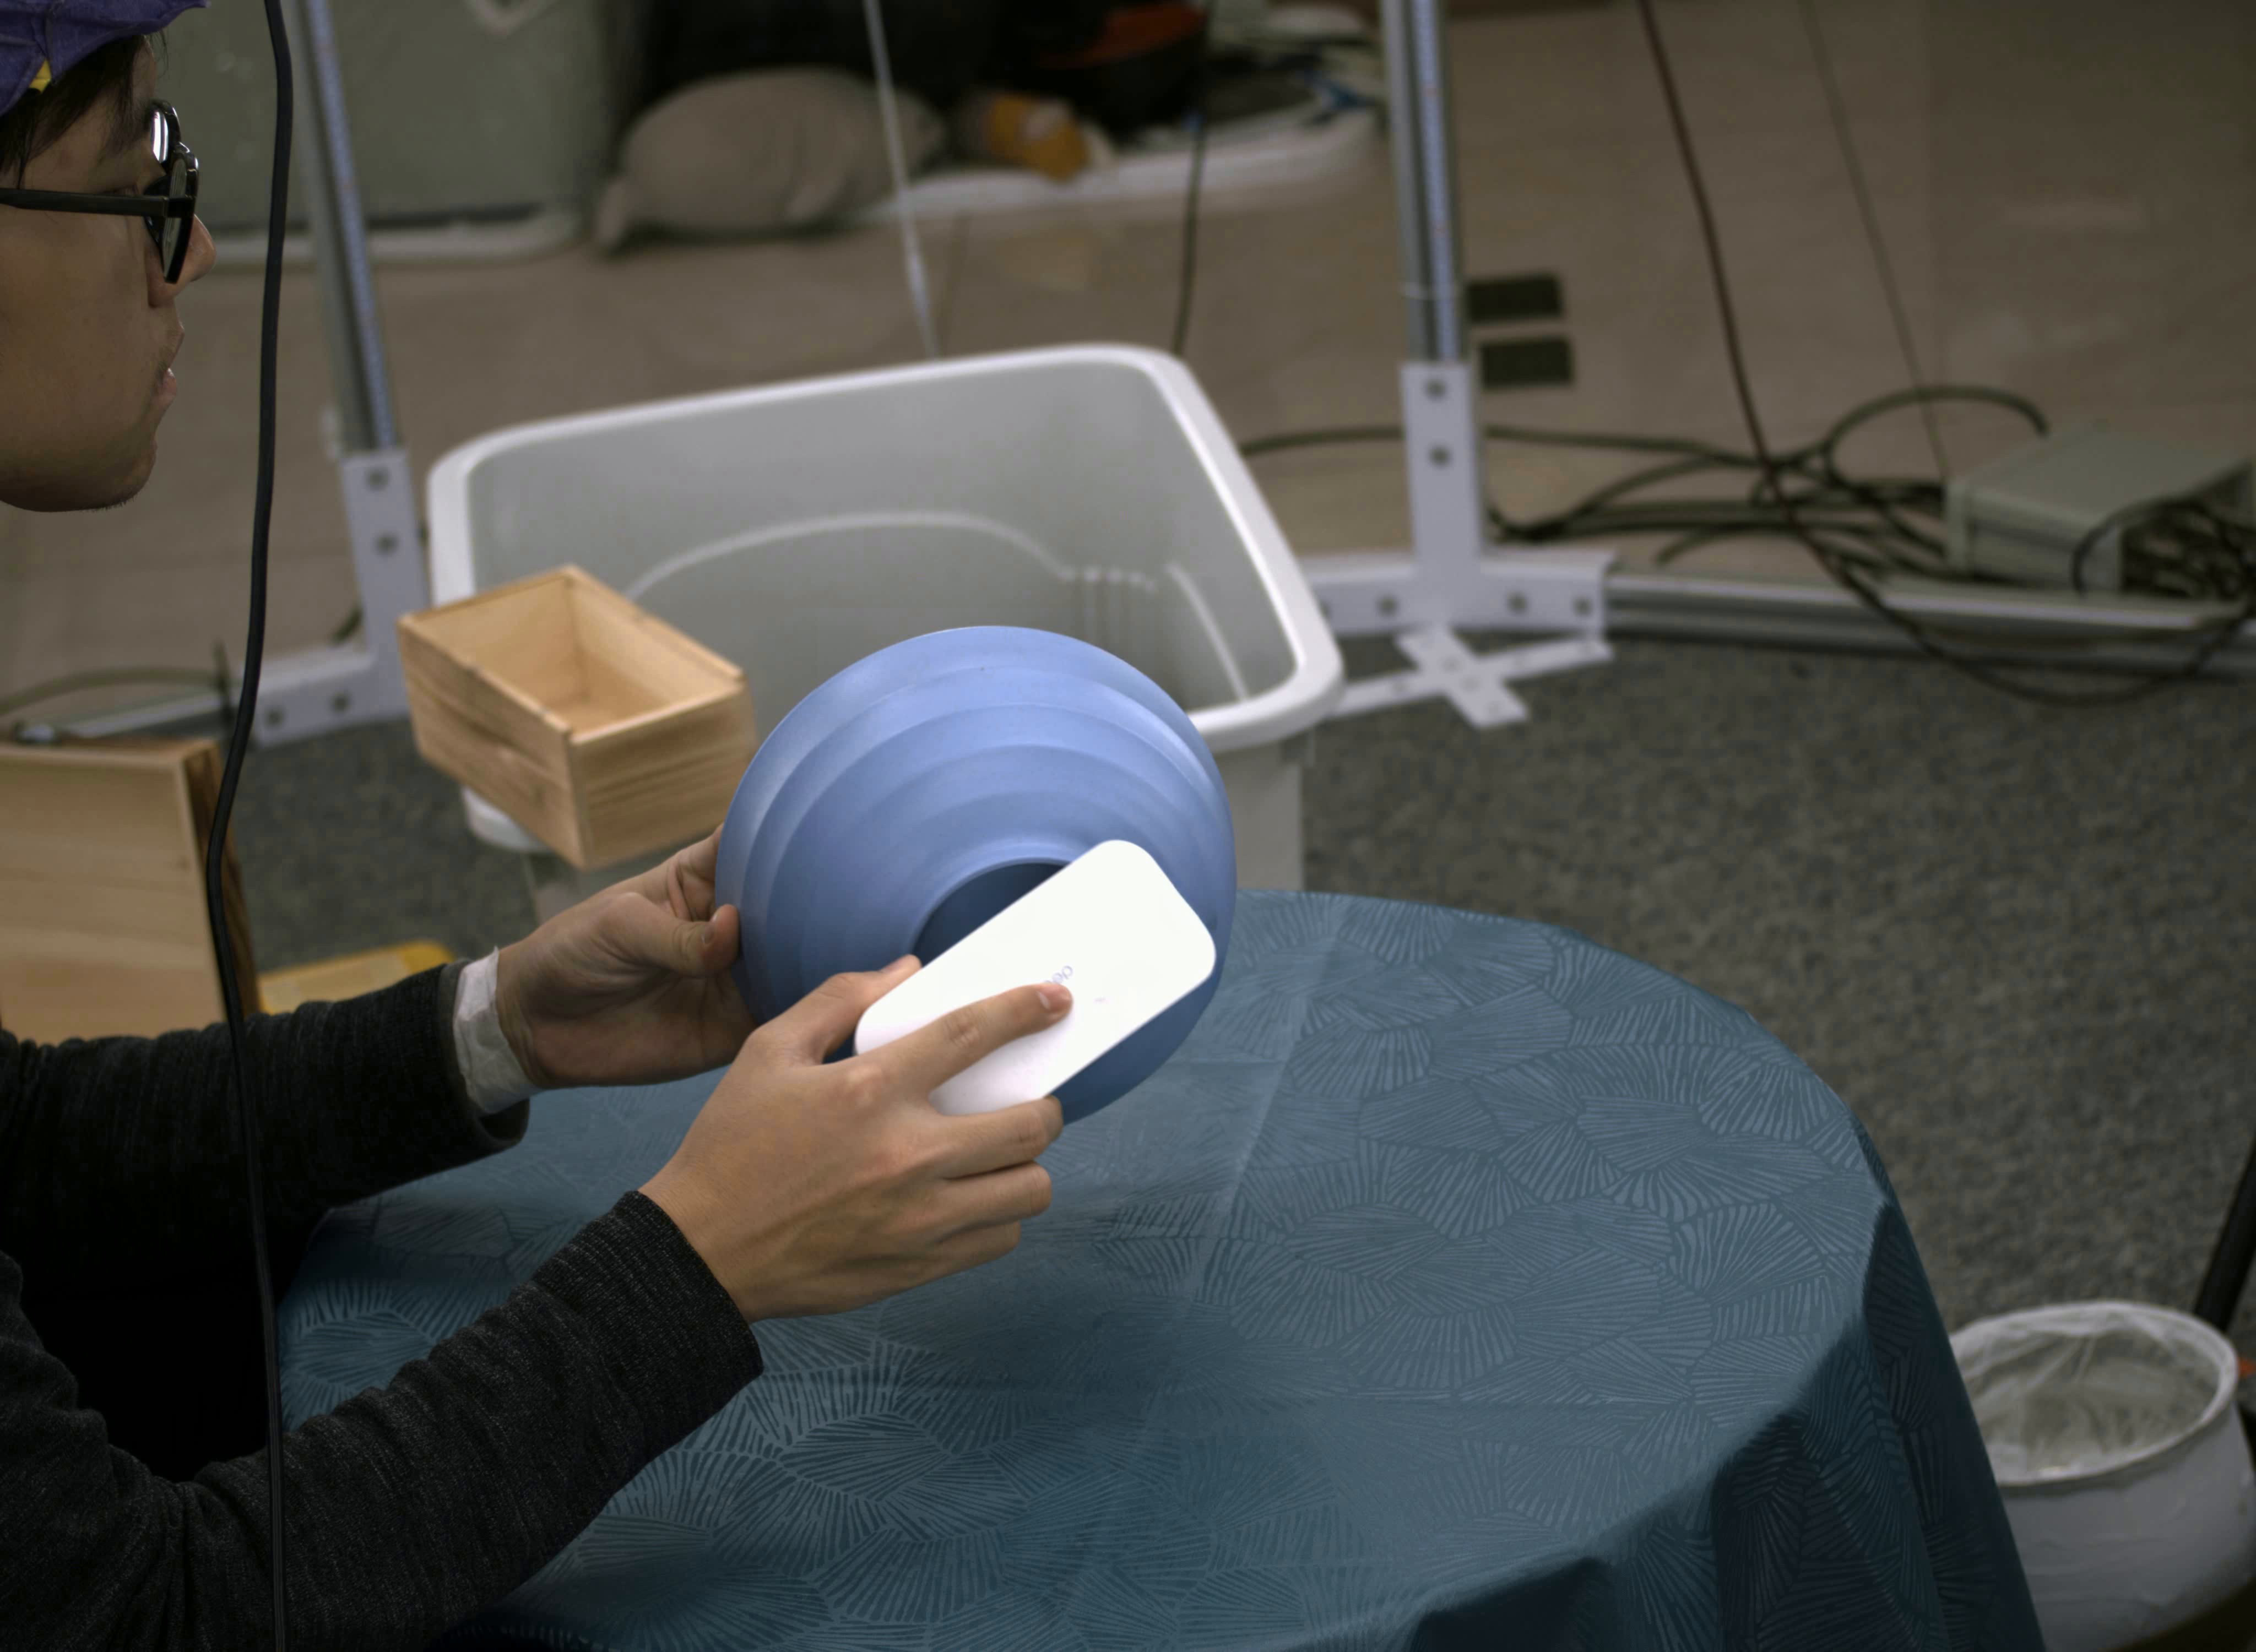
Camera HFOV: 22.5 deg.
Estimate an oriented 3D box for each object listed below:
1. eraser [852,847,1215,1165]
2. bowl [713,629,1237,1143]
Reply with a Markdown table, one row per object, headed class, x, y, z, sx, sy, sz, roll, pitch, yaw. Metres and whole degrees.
| class | x | y | z | sx | sy | sz | roll | pitch | yaw |
| --- | --- | --- | --- | --- | --- | --- | --- | --- | --- |
| eraser | -0.034 | 0.061 | 1.967 | 0.130 | 0.063 | 0.035 | -35 | -6 | -21 |
| bowl | -0.047 | 0.036 | 2.051 | 0.196 | 0.200 | 0.094 | -10 | 26 | -7 |
